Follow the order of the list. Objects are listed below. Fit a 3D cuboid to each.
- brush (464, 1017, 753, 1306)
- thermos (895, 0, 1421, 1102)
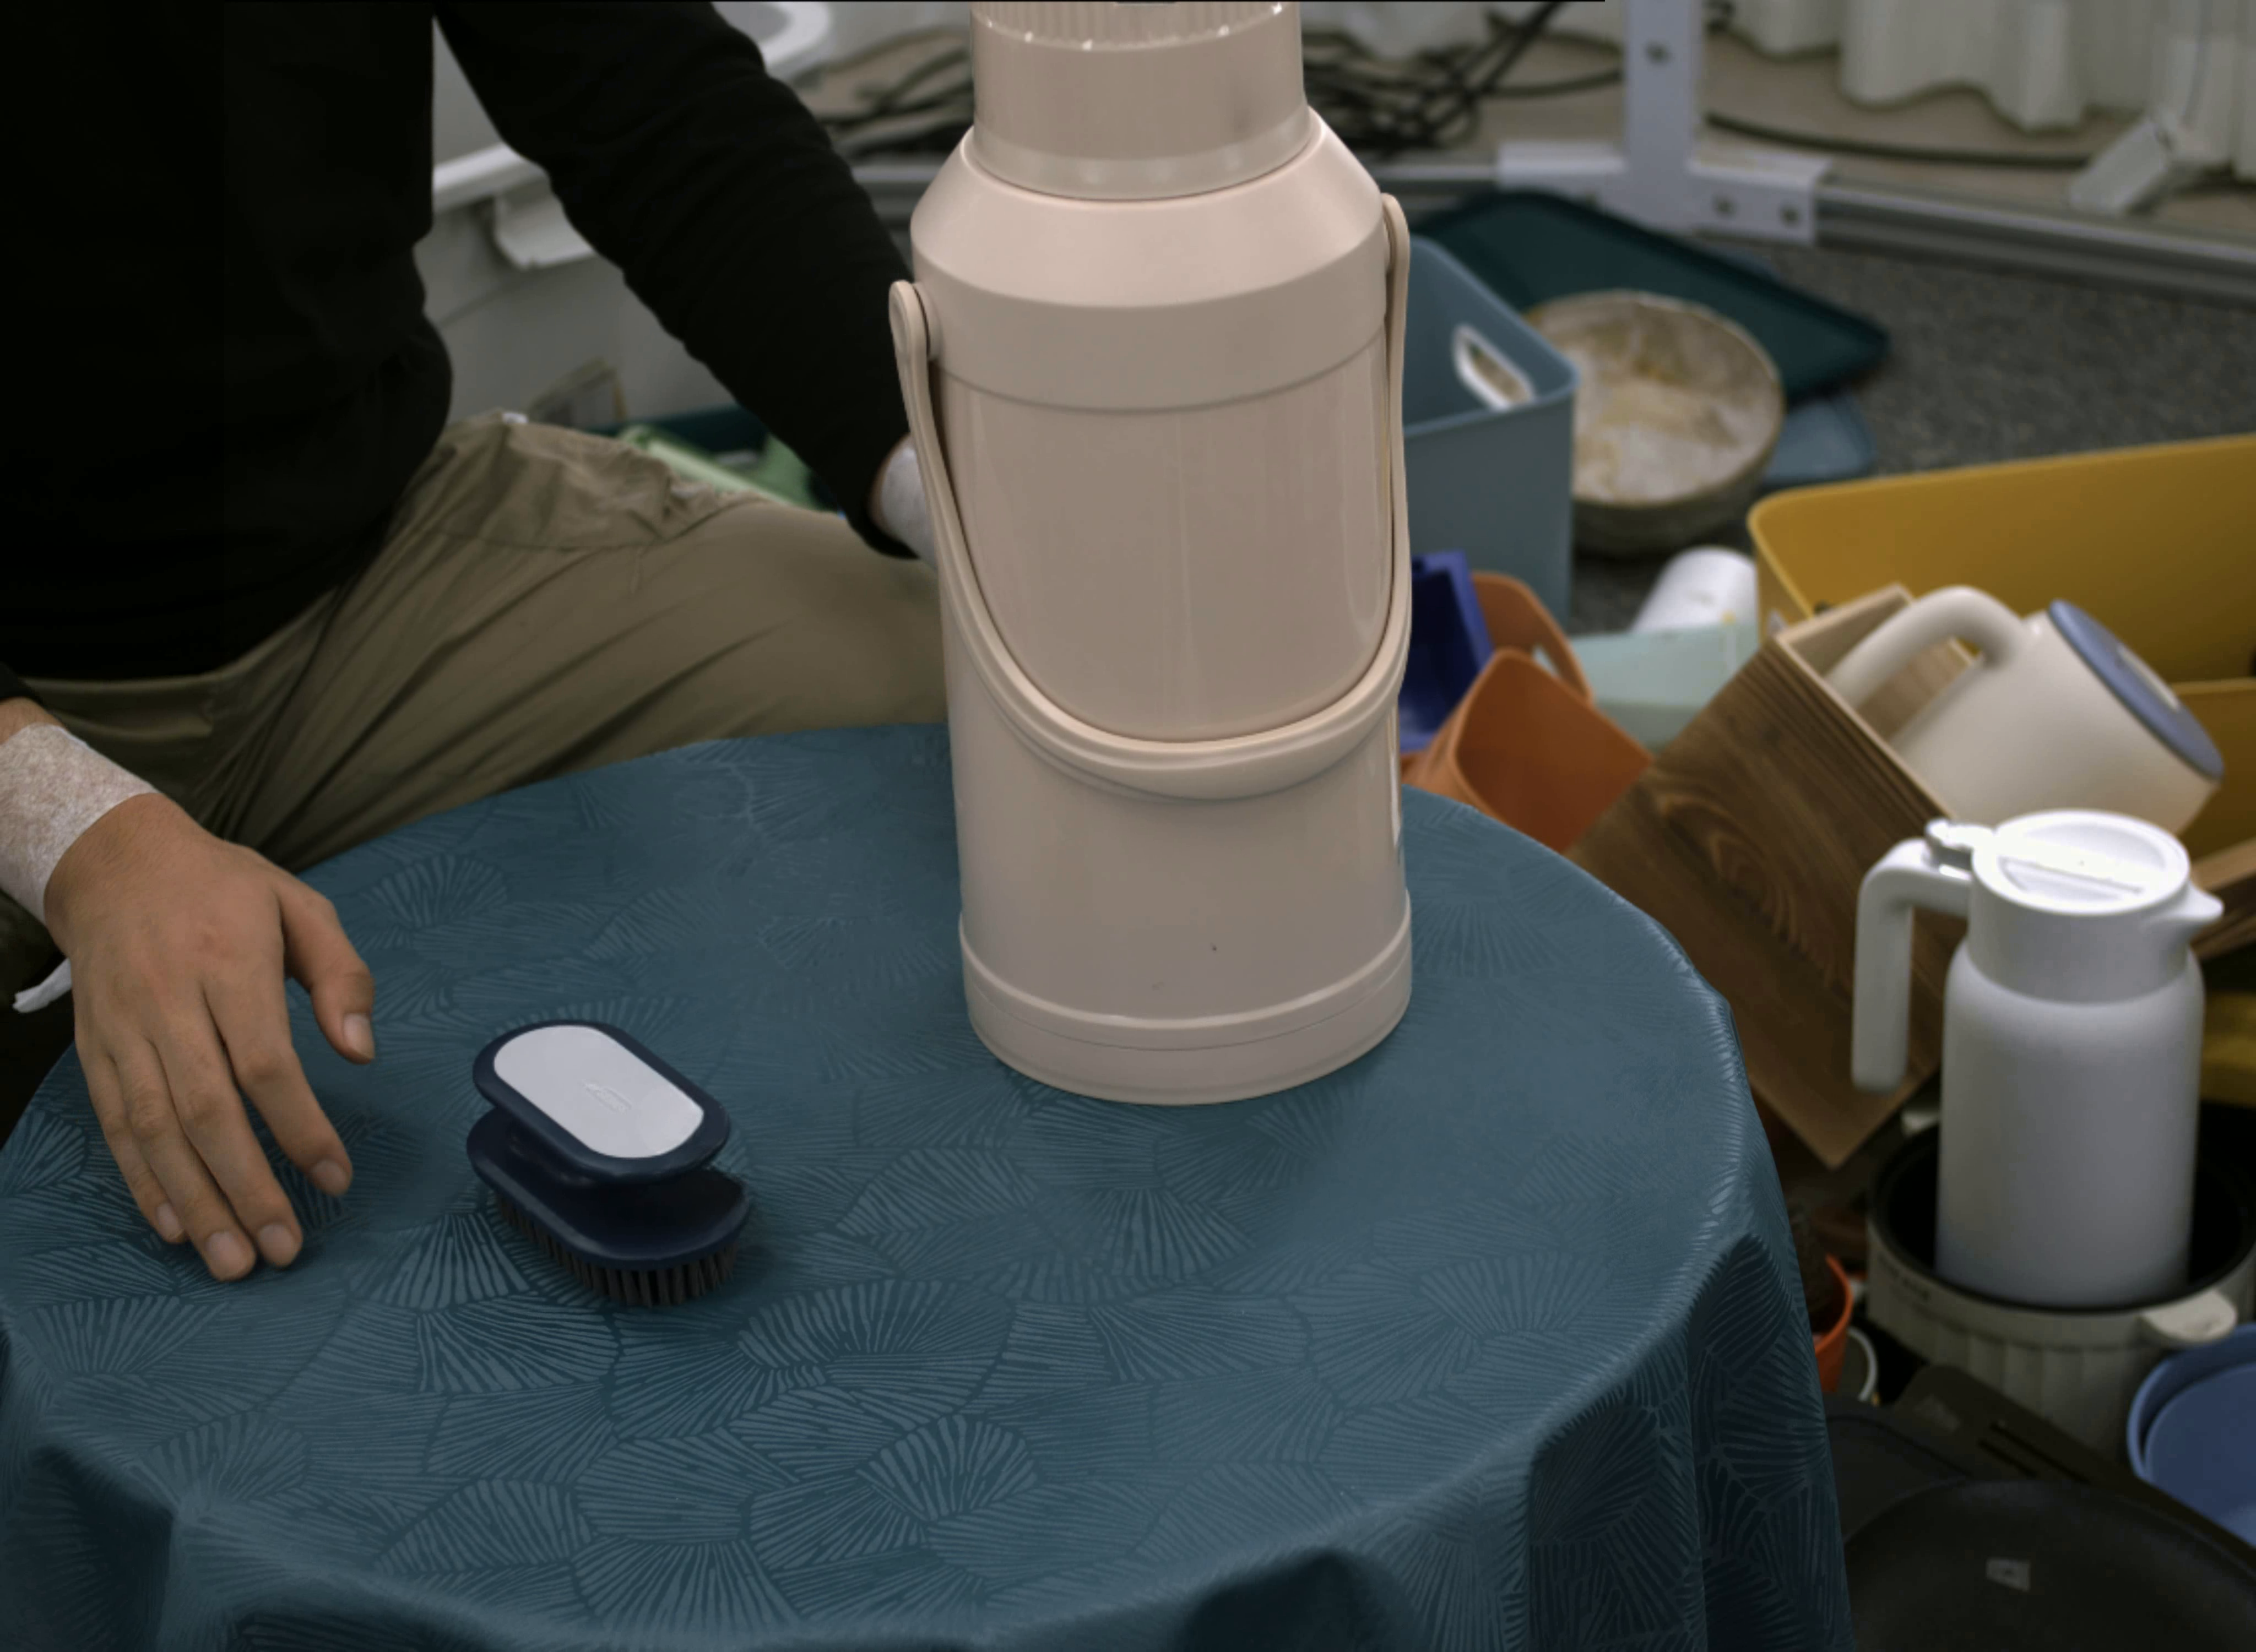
[{"bbox_3d":[-0.171,0.112,1.839,0.068,0.060,0.122,-17,30,-30],"label":"brush"},{"bbox_3d":[0.010,-0.124,1.908,0.175,0.402,0.209,-13,28,-16],"label":"thermos"}]
